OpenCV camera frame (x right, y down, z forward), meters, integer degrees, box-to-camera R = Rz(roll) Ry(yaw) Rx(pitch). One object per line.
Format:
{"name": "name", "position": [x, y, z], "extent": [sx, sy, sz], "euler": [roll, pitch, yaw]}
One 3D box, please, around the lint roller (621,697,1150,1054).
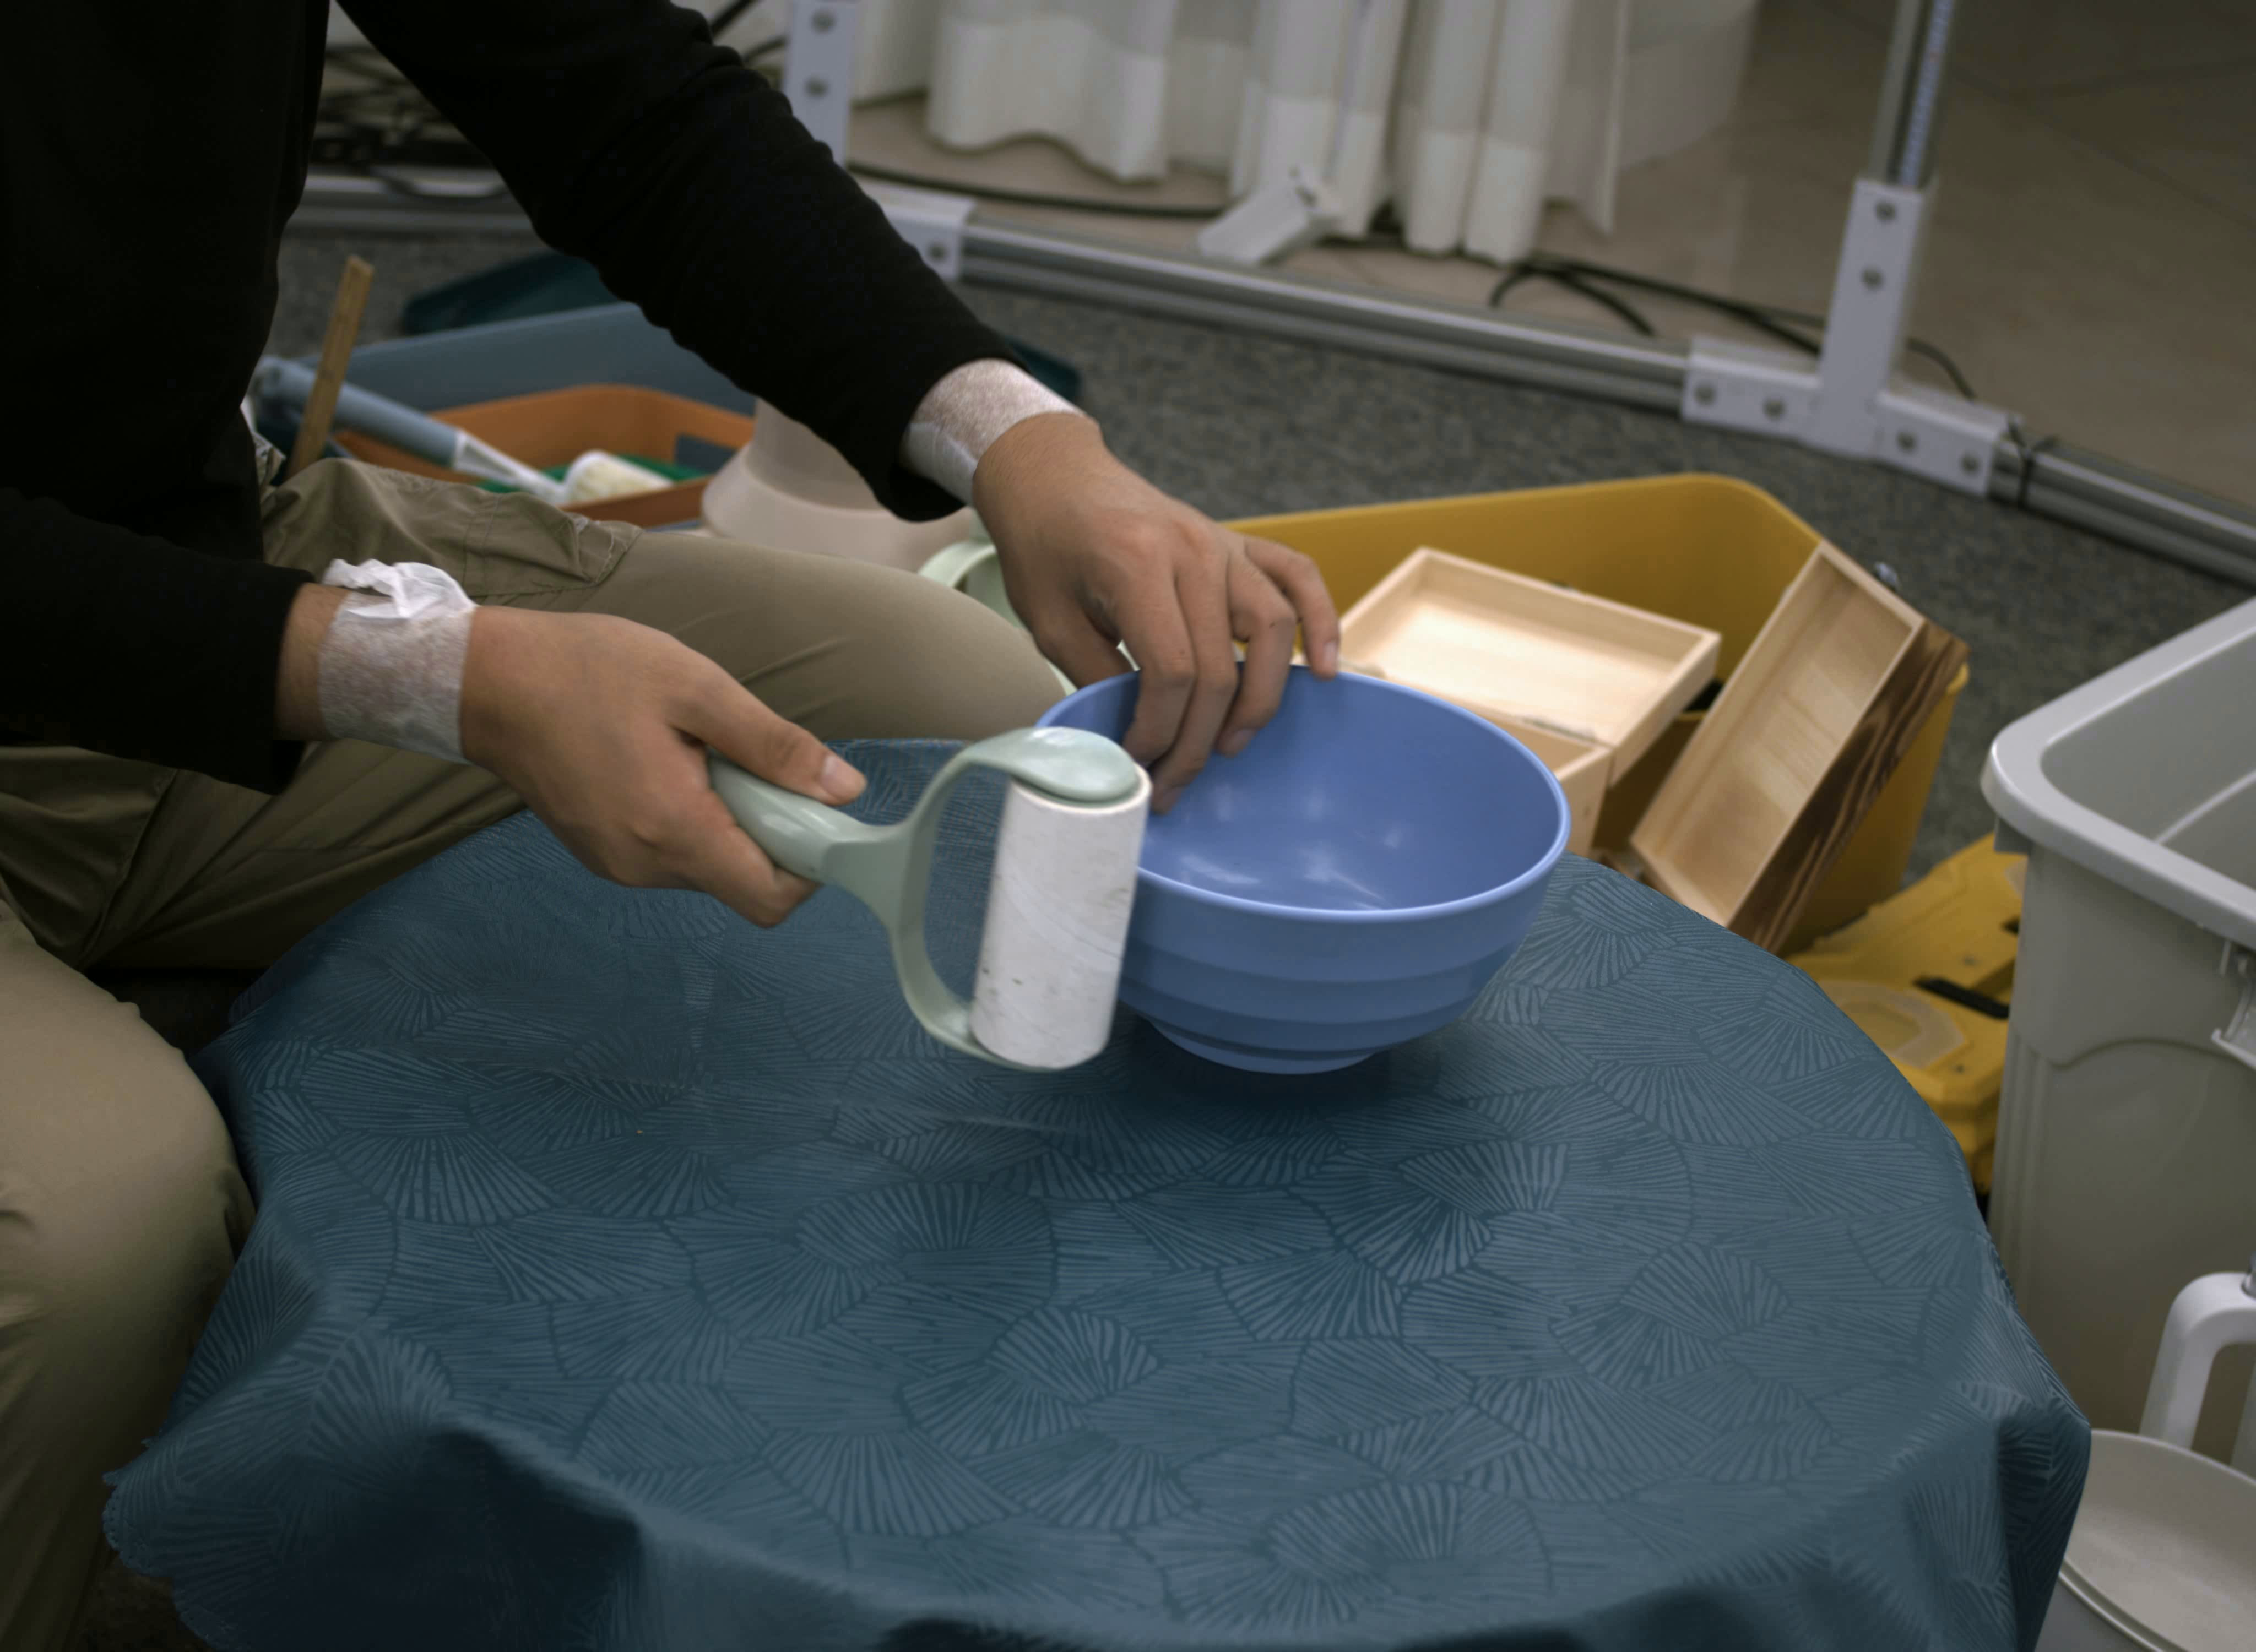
{"name": "lint roller", "position": [-0.088, -0.003, 1.787], "extent": [0.198, 0.116, 0.048], "euler": [19, 31, 17]}

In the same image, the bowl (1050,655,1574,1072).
{"name": "bowl", "position": [0.055, 0.024, 1.901], "extent": [0.196, 0.095, 0.198], "euler": [5, 28, -3]}
